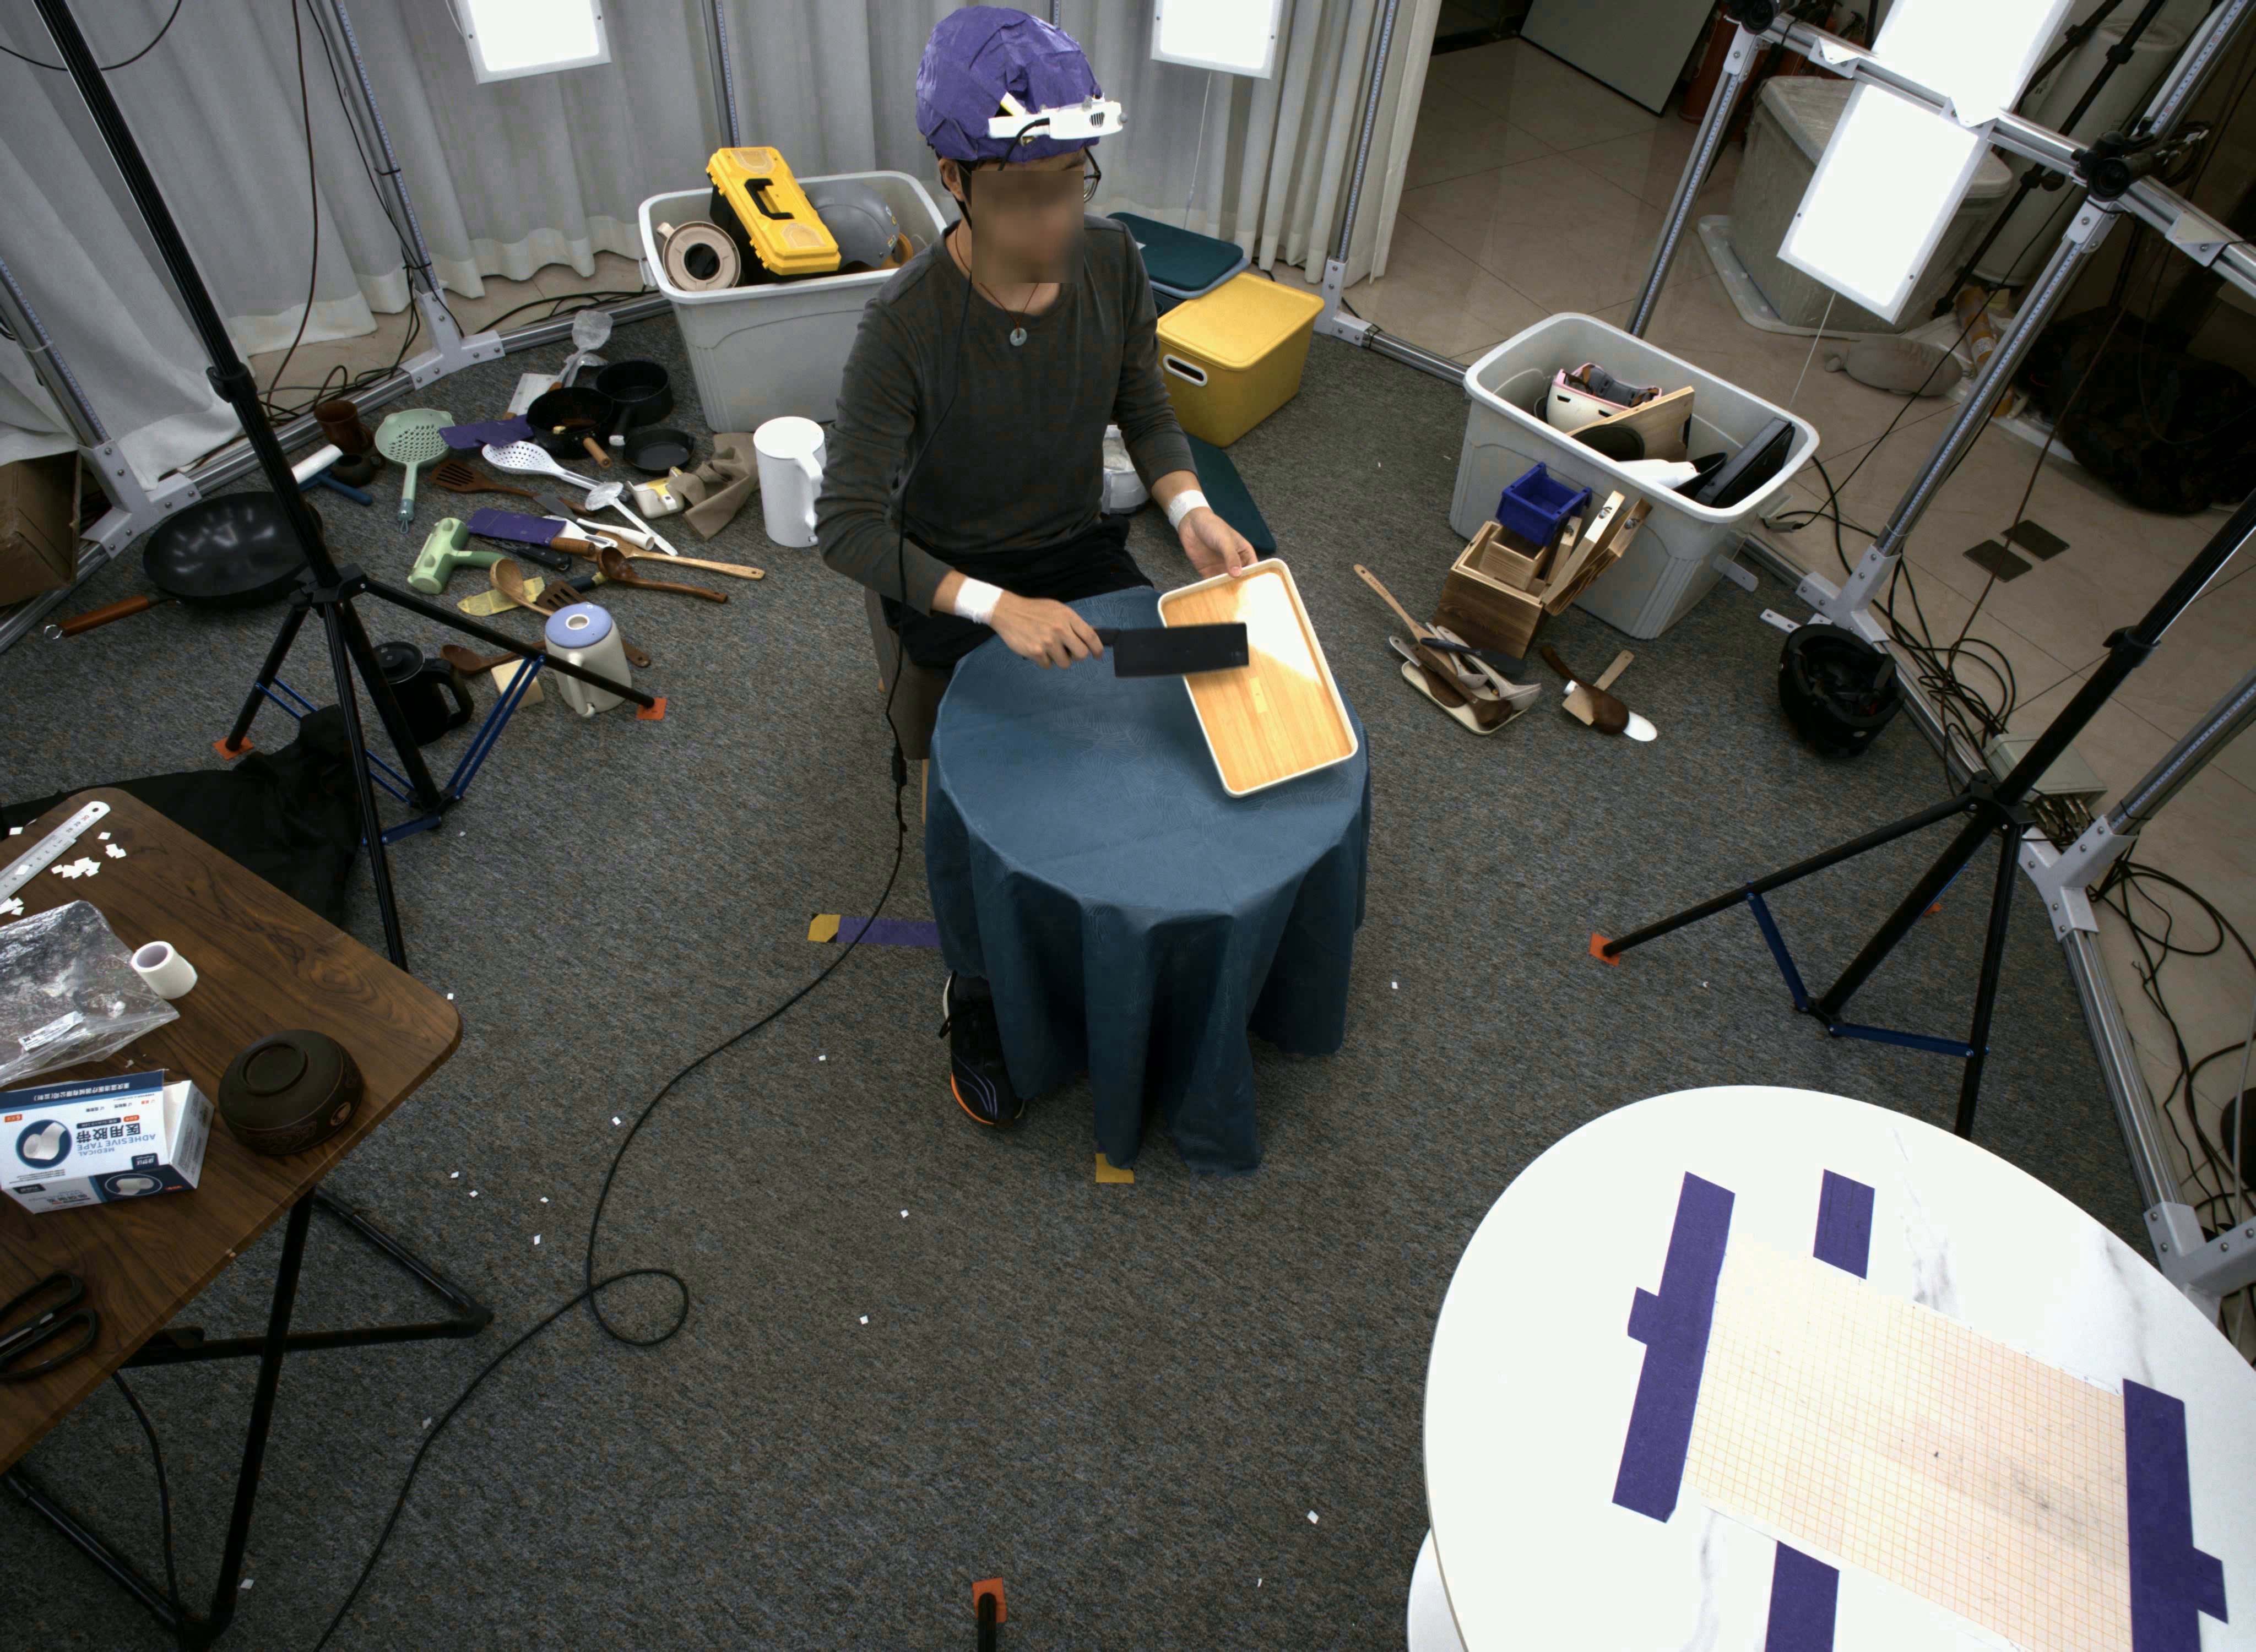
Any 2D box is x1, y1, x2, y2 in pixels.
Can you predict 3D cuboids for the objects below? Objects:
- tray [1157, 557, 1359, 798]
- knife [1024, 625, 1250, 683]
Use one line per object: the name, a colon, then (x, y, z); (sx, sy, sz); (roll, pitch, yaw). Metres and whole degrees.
tray: (0.173, -0.203, 1.738); (0.191, 0.027, 0.303); (-19, 77, -5)
knife: (0.012, -0.231, 1.714); (0.302, 0.021, 0.081); (1, 87, 1)
